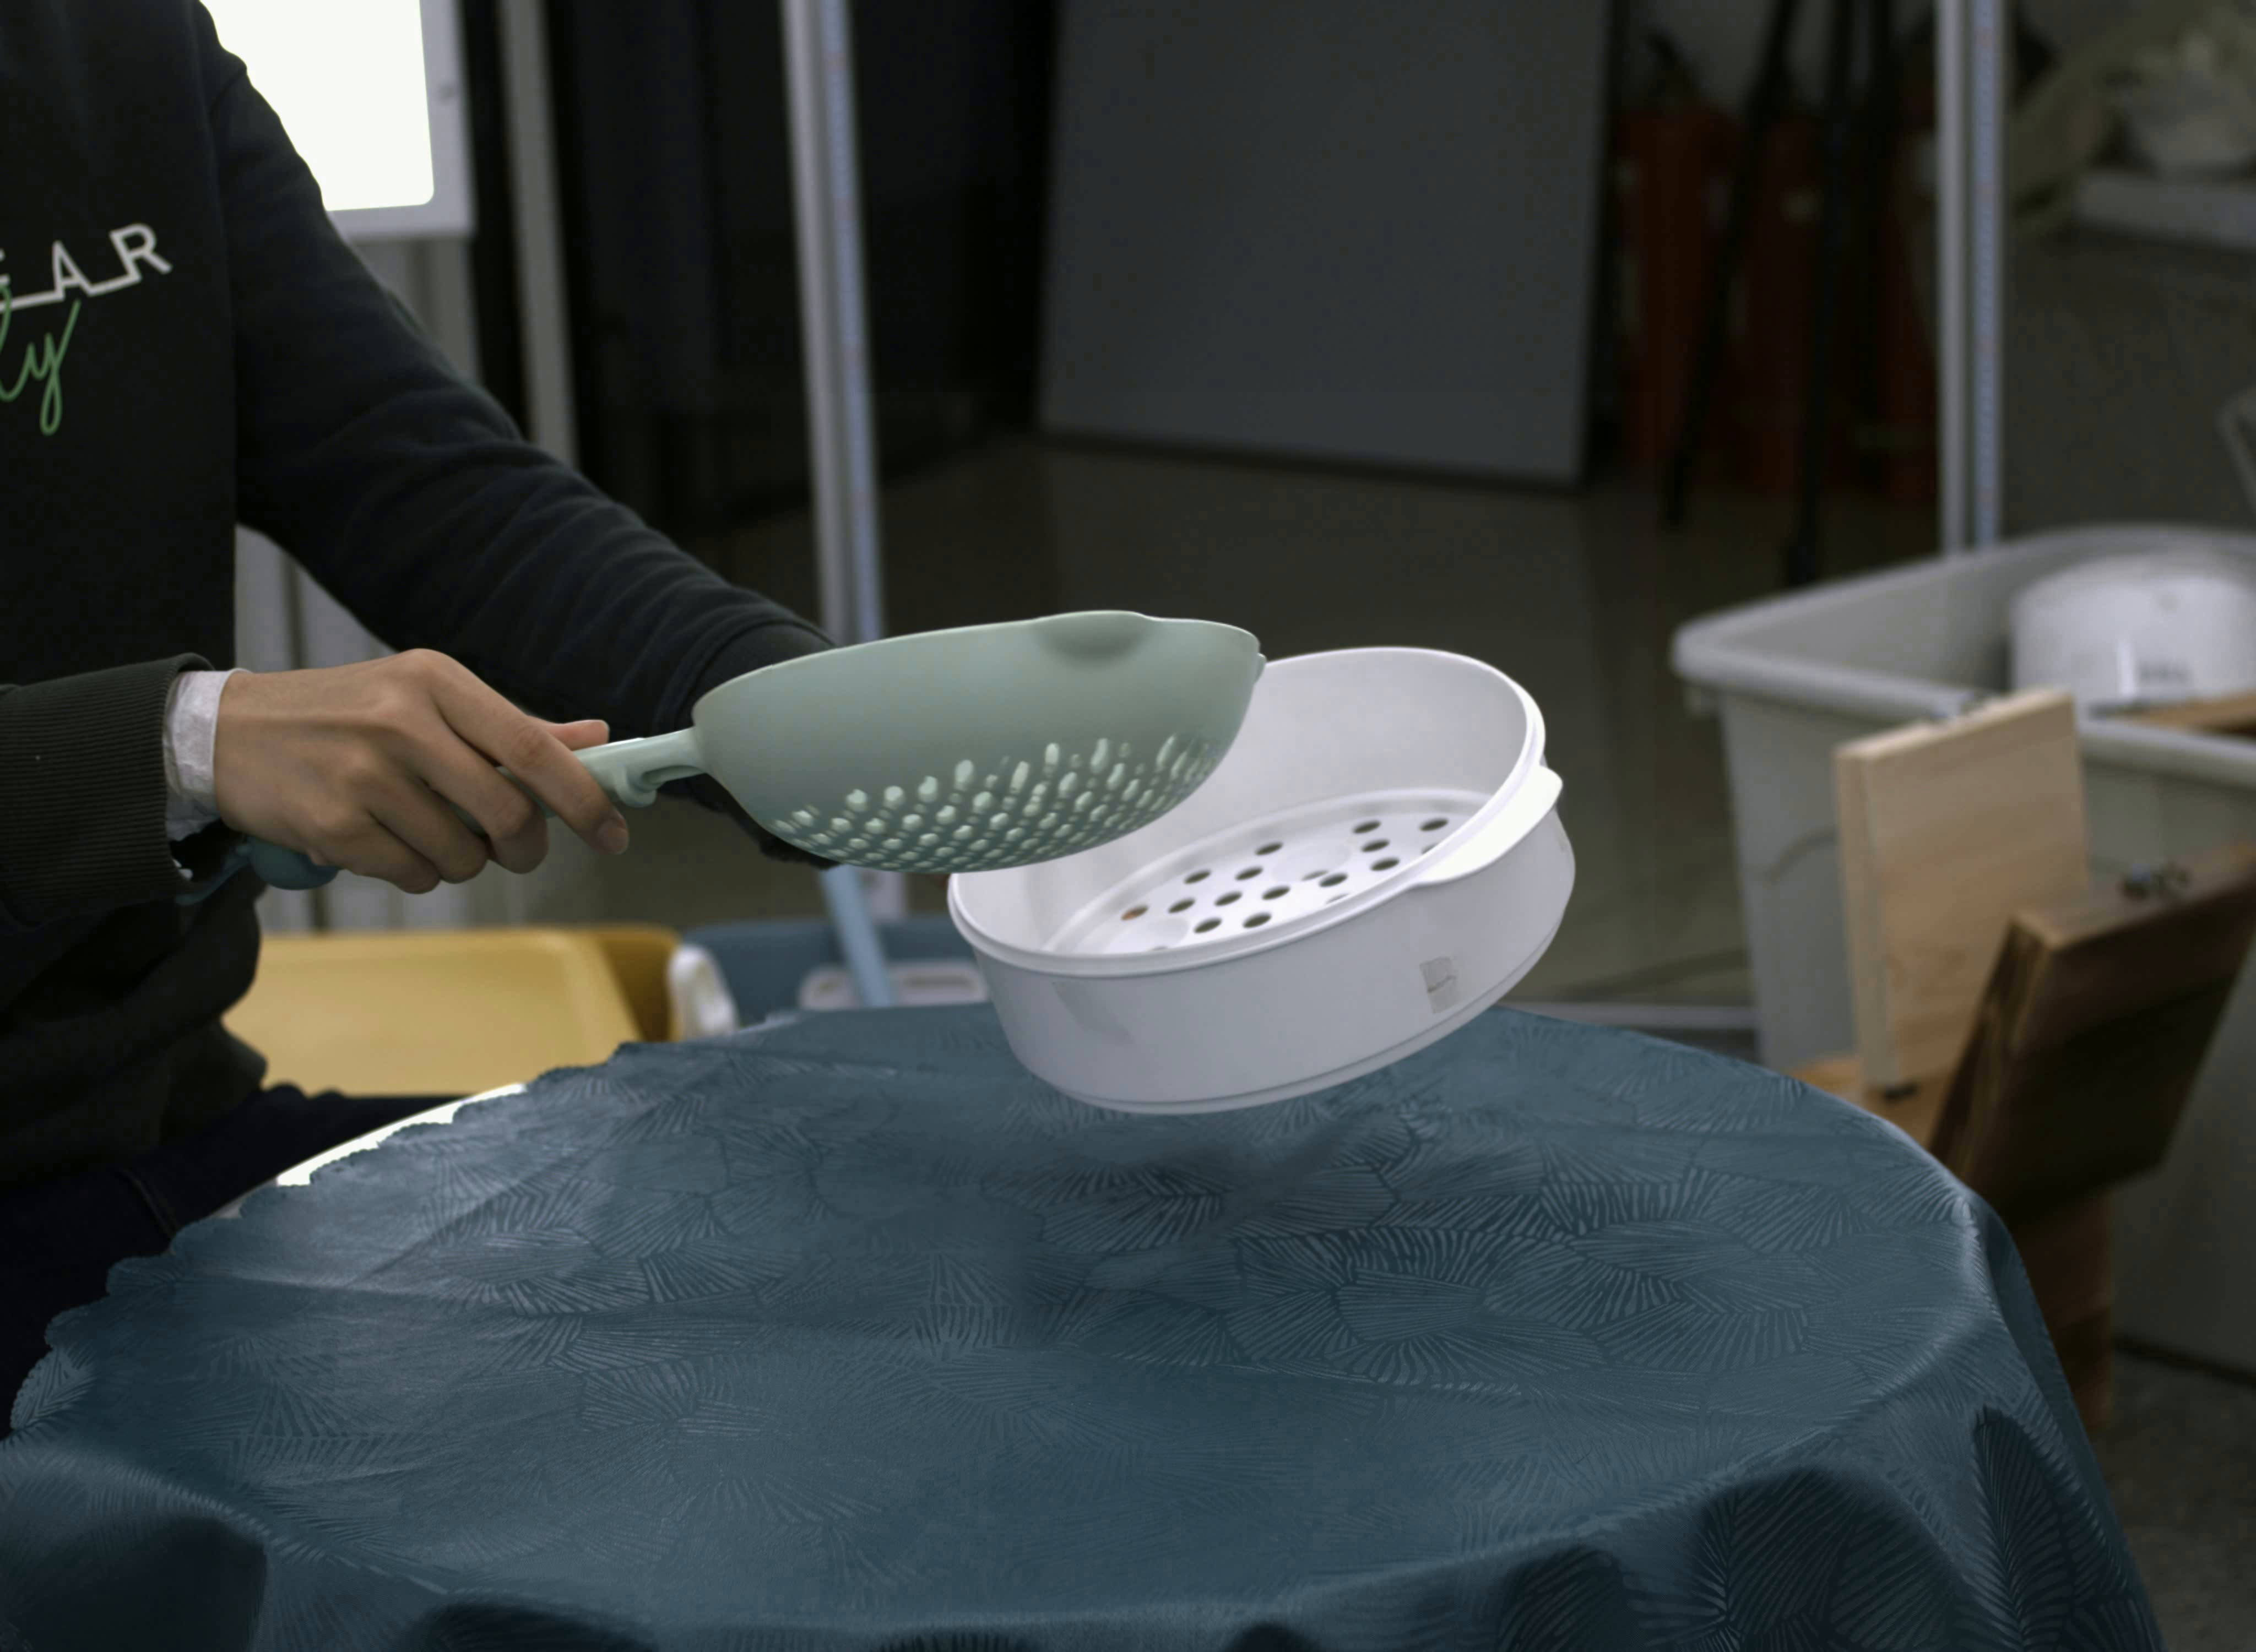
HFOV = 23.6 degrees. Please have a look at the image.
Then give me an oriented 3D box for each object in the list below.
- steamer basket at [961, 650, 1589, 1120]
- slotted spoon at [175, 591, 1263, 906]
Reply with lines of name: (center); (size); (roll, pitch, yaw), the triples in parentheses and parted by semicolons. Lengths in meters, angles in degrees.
steamer basket: (0.049, 0.018, 1.725); (0.232, 0.069, 0.199); (2, 31, 40)
slotted spoon: (-0.133, -0.019, 1.631); (0.359, 0.076, 0.167); (-2, -7, 23)
